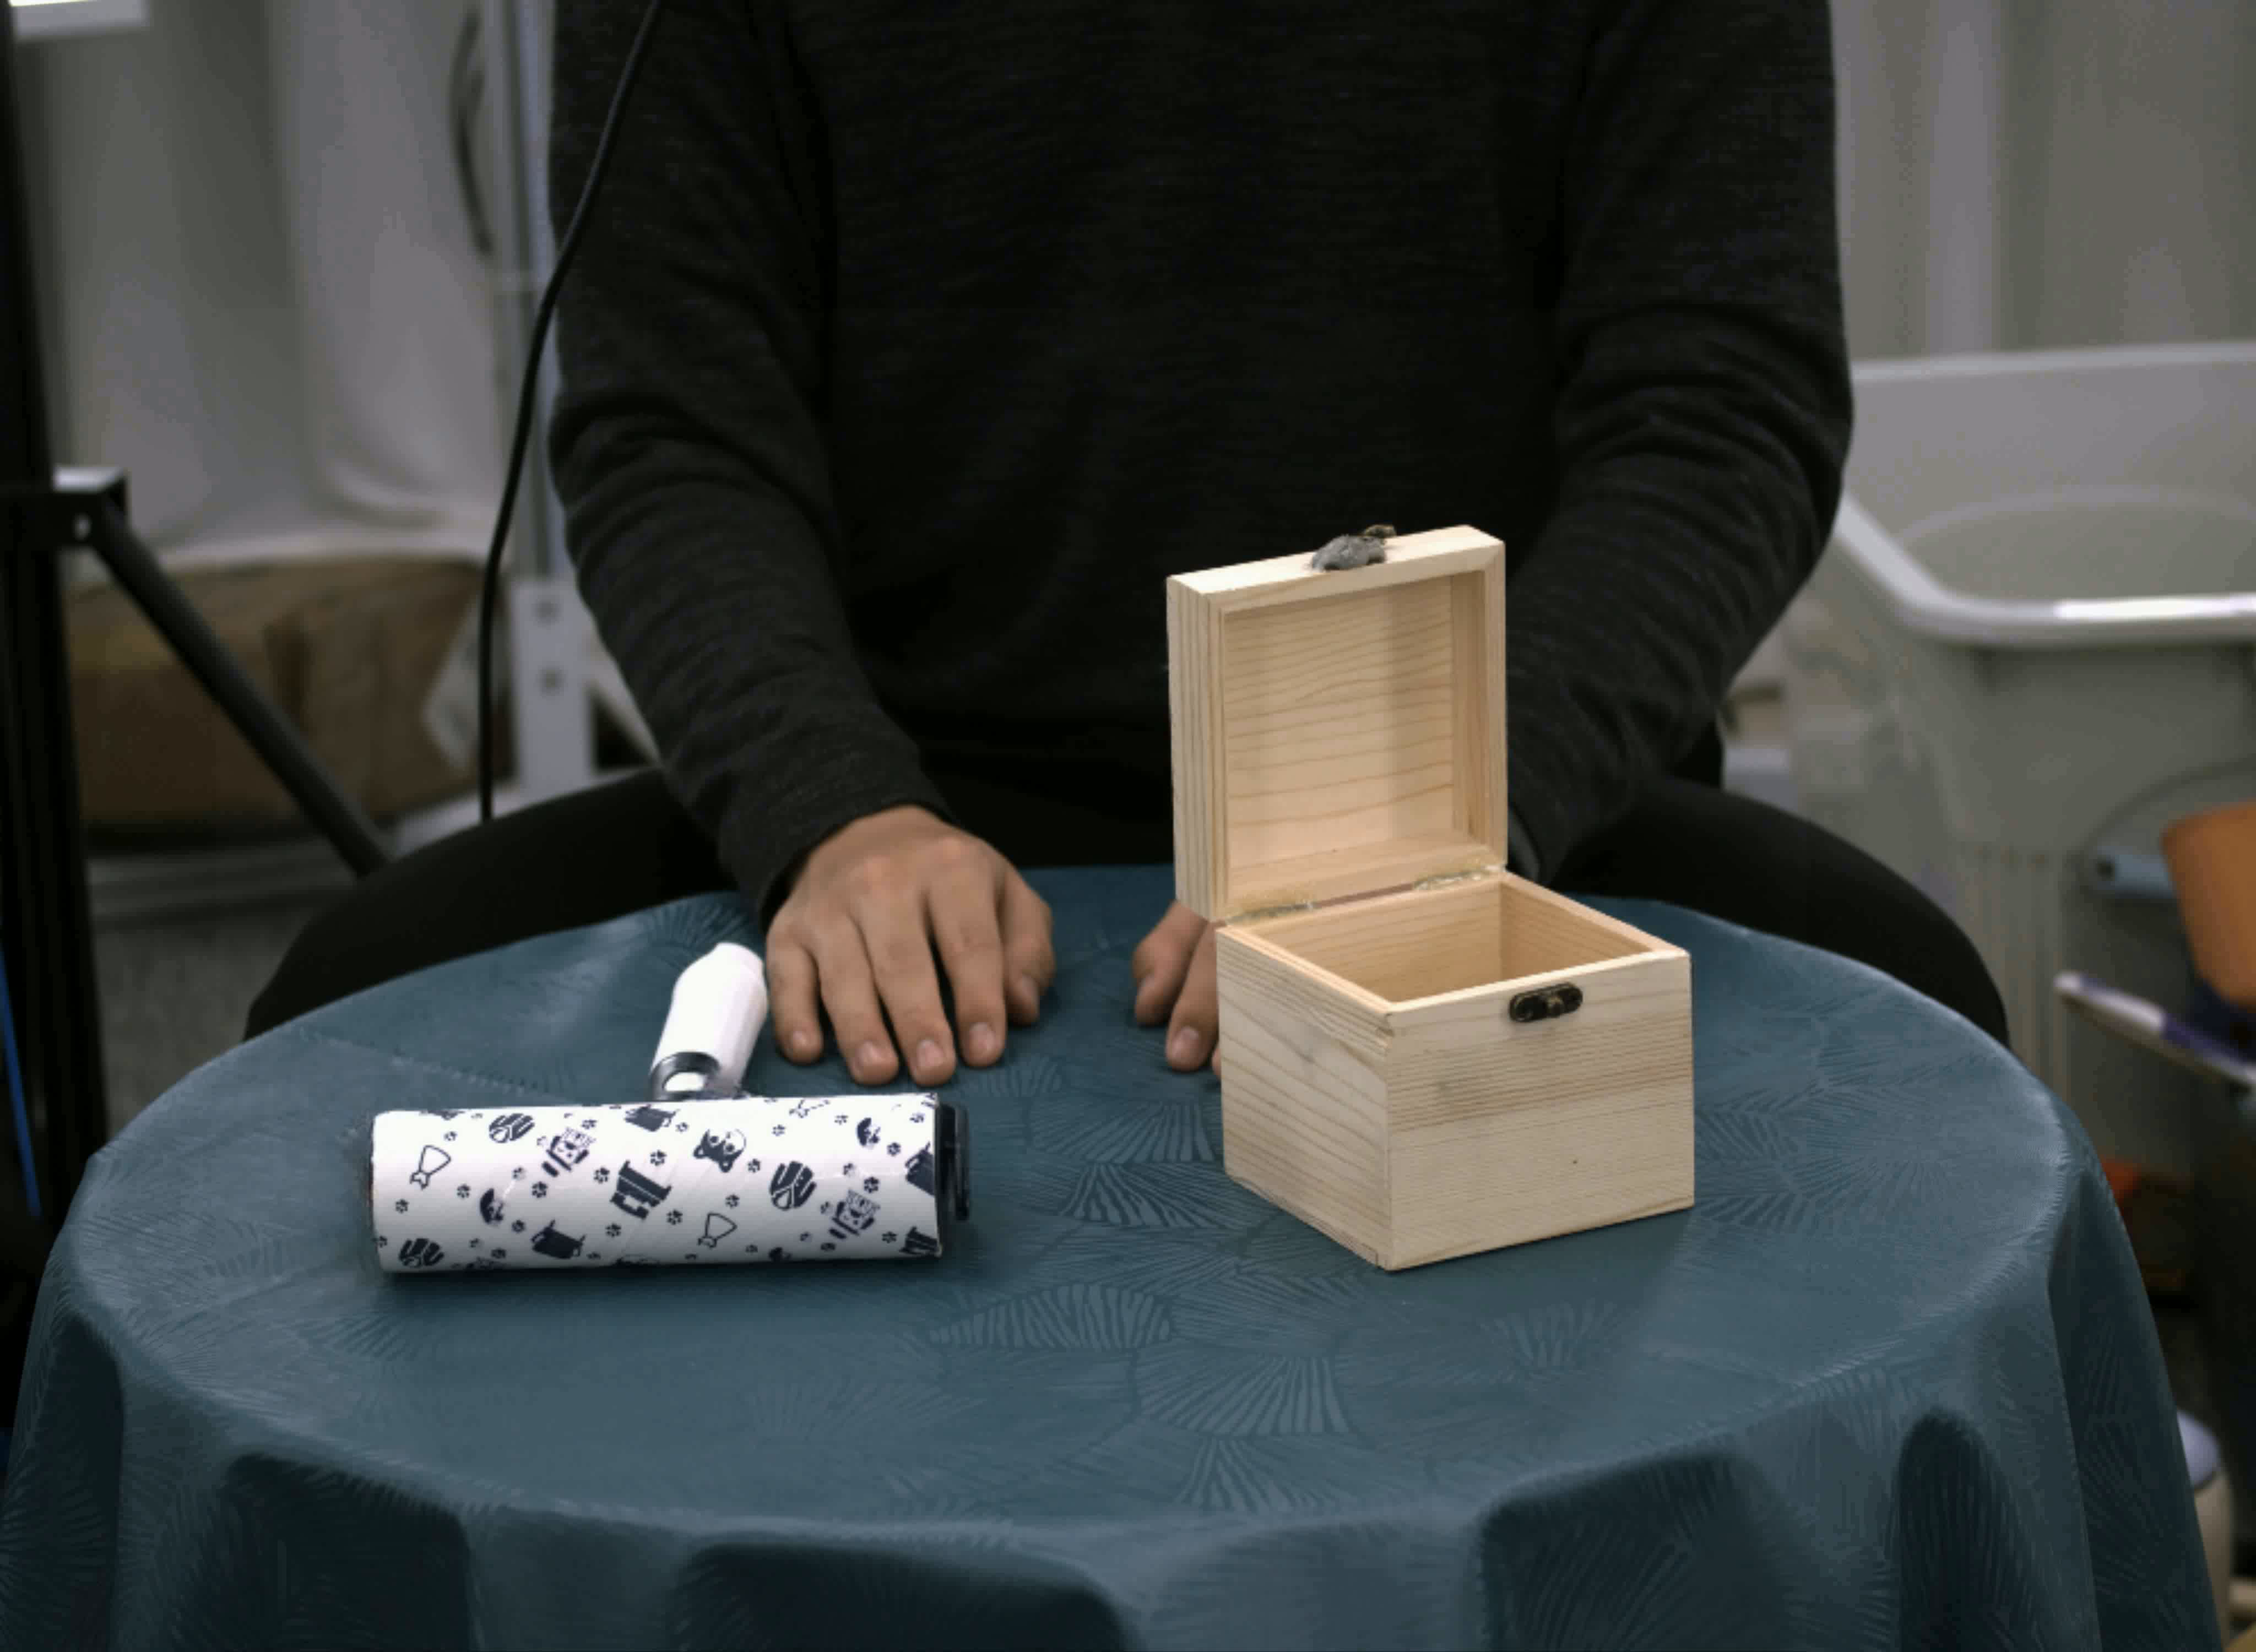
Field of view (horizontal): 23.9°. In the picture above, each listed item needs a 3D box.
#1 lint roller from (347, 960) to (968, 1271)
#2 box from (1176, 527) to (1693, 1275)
[{"bbox_3d":[-0.133,0.076,1.615,0.176,0.050,0.248,-3,15,2],"label":"lint roller"},{"bbox_3d":[0.088,0.018,1.528,0.100,0.184,0.136,-8,15,-25],"label":"box"}]
